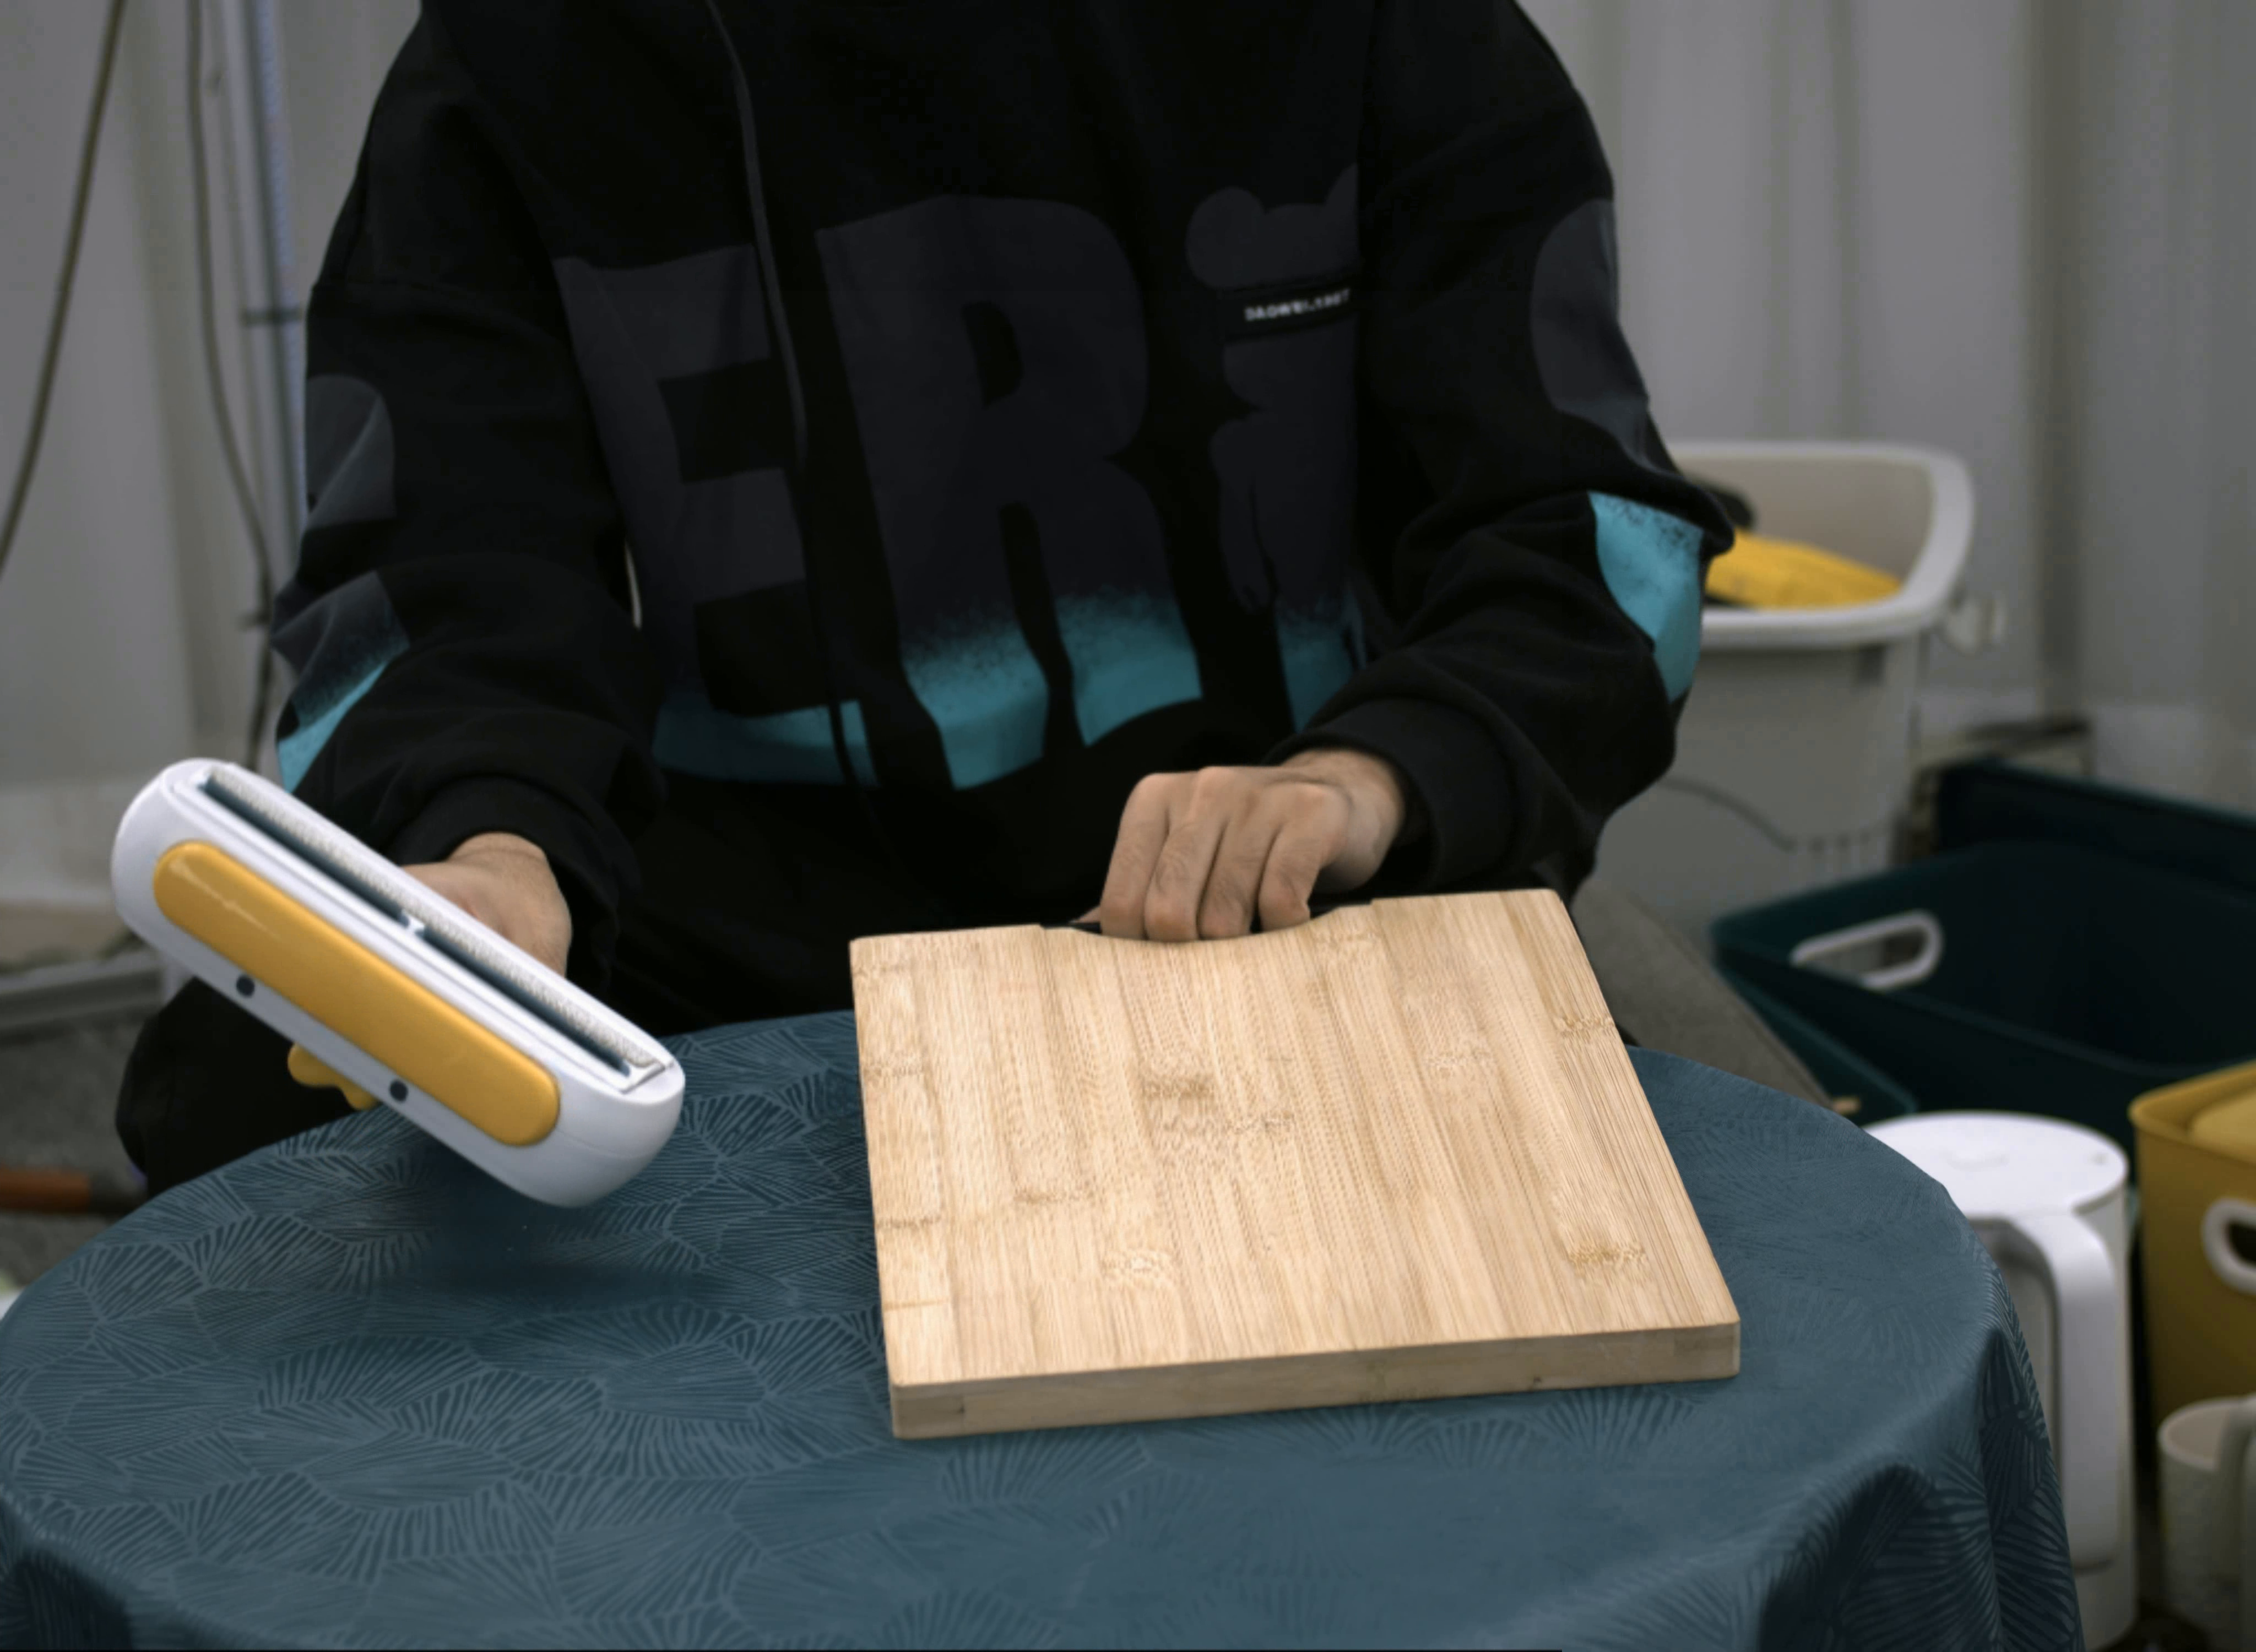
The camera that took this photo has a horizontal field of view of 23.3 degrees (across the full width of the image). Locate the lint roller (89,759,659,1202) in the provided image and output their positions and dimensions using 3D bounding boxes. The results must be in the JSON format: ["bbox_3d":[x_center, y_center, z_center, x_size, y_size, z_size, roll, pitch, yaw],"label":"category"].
[{"bbox_3d":[-0.217,0.051,1.718,0.193,0.074,0.192,29,8,14],"label":"lint roller"}]

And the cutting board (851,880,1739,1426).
[{"bbox_3d":[0.039,0.095,1.686,0.250,0.023,0.352,-4,21,-4],"label":"cutting board"}]
